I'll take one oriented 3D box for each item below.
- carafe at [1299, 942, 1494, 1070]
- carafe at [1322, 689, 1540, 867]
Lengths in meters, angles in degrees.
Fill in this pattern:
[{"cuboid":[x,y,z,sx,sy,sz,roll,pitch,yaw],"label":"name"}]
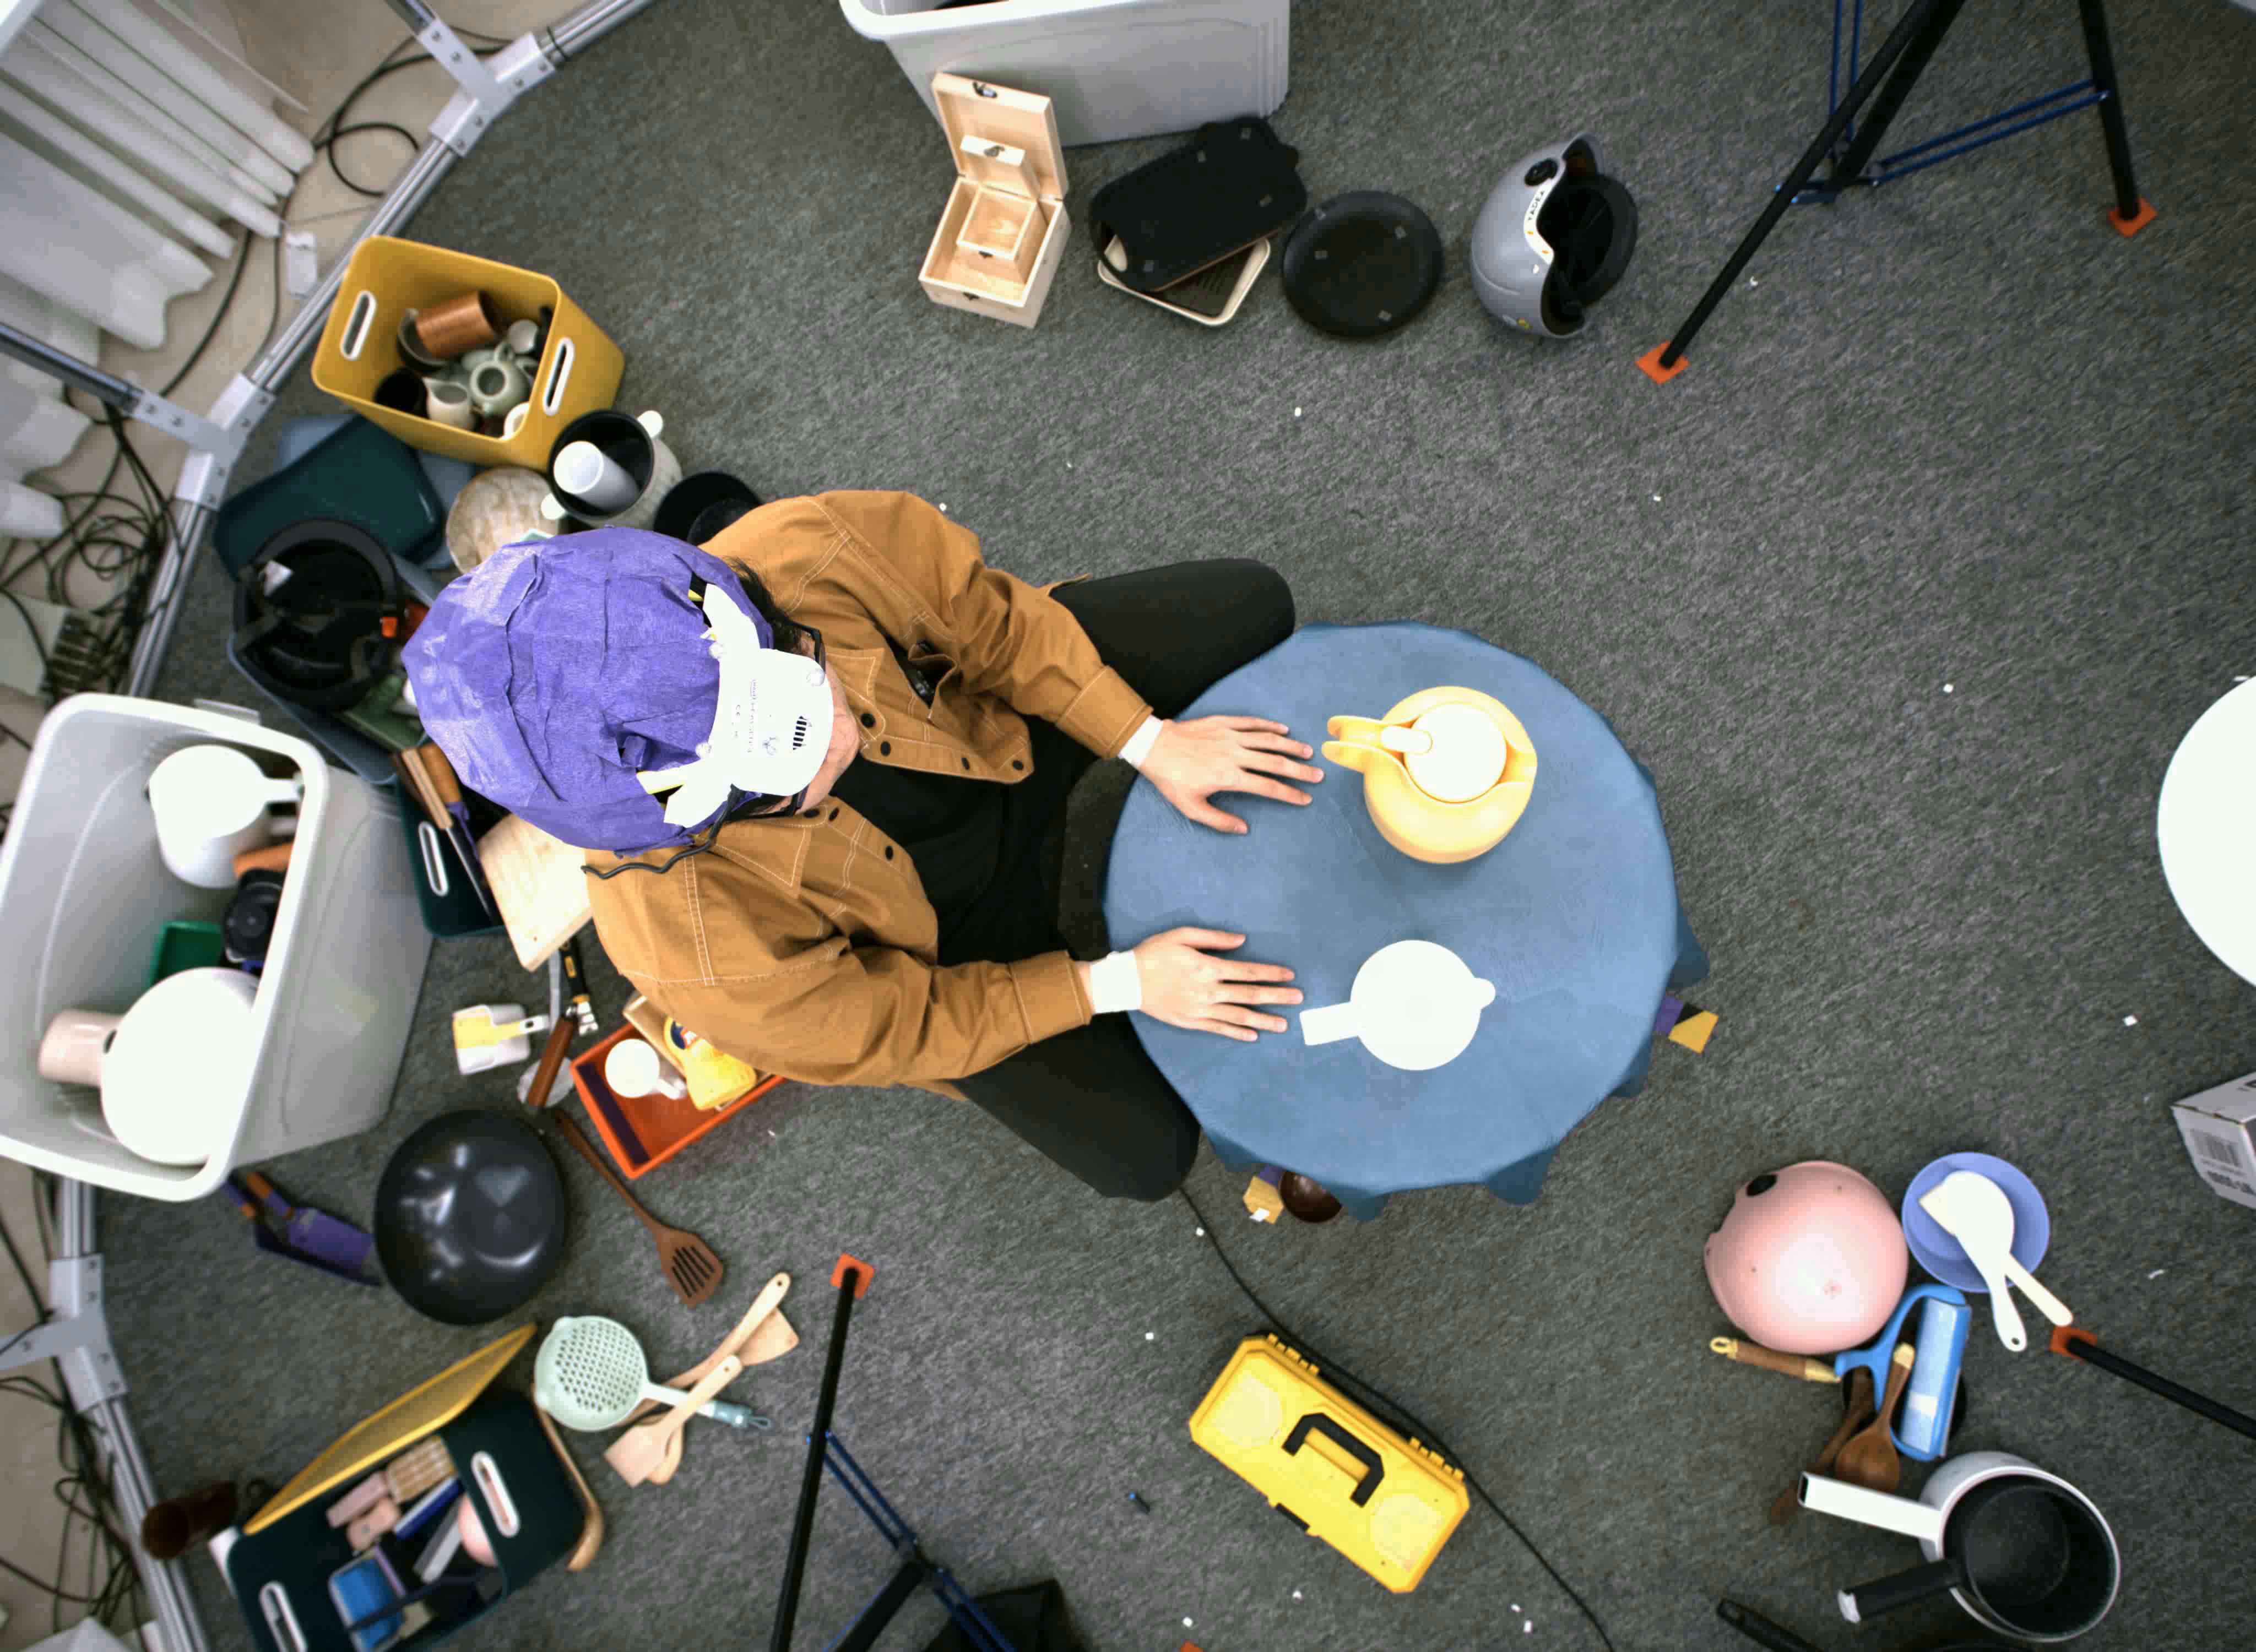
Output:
[{"cuboid":[0.255,0.175,1.323,0.174,0.269,0.123,-14,84,9],"label":"carafe"},{"cuboid":[0.290,-0.059,1.330,0.202,0.261,0.163,16,85,10],"label":"carafe"}]
